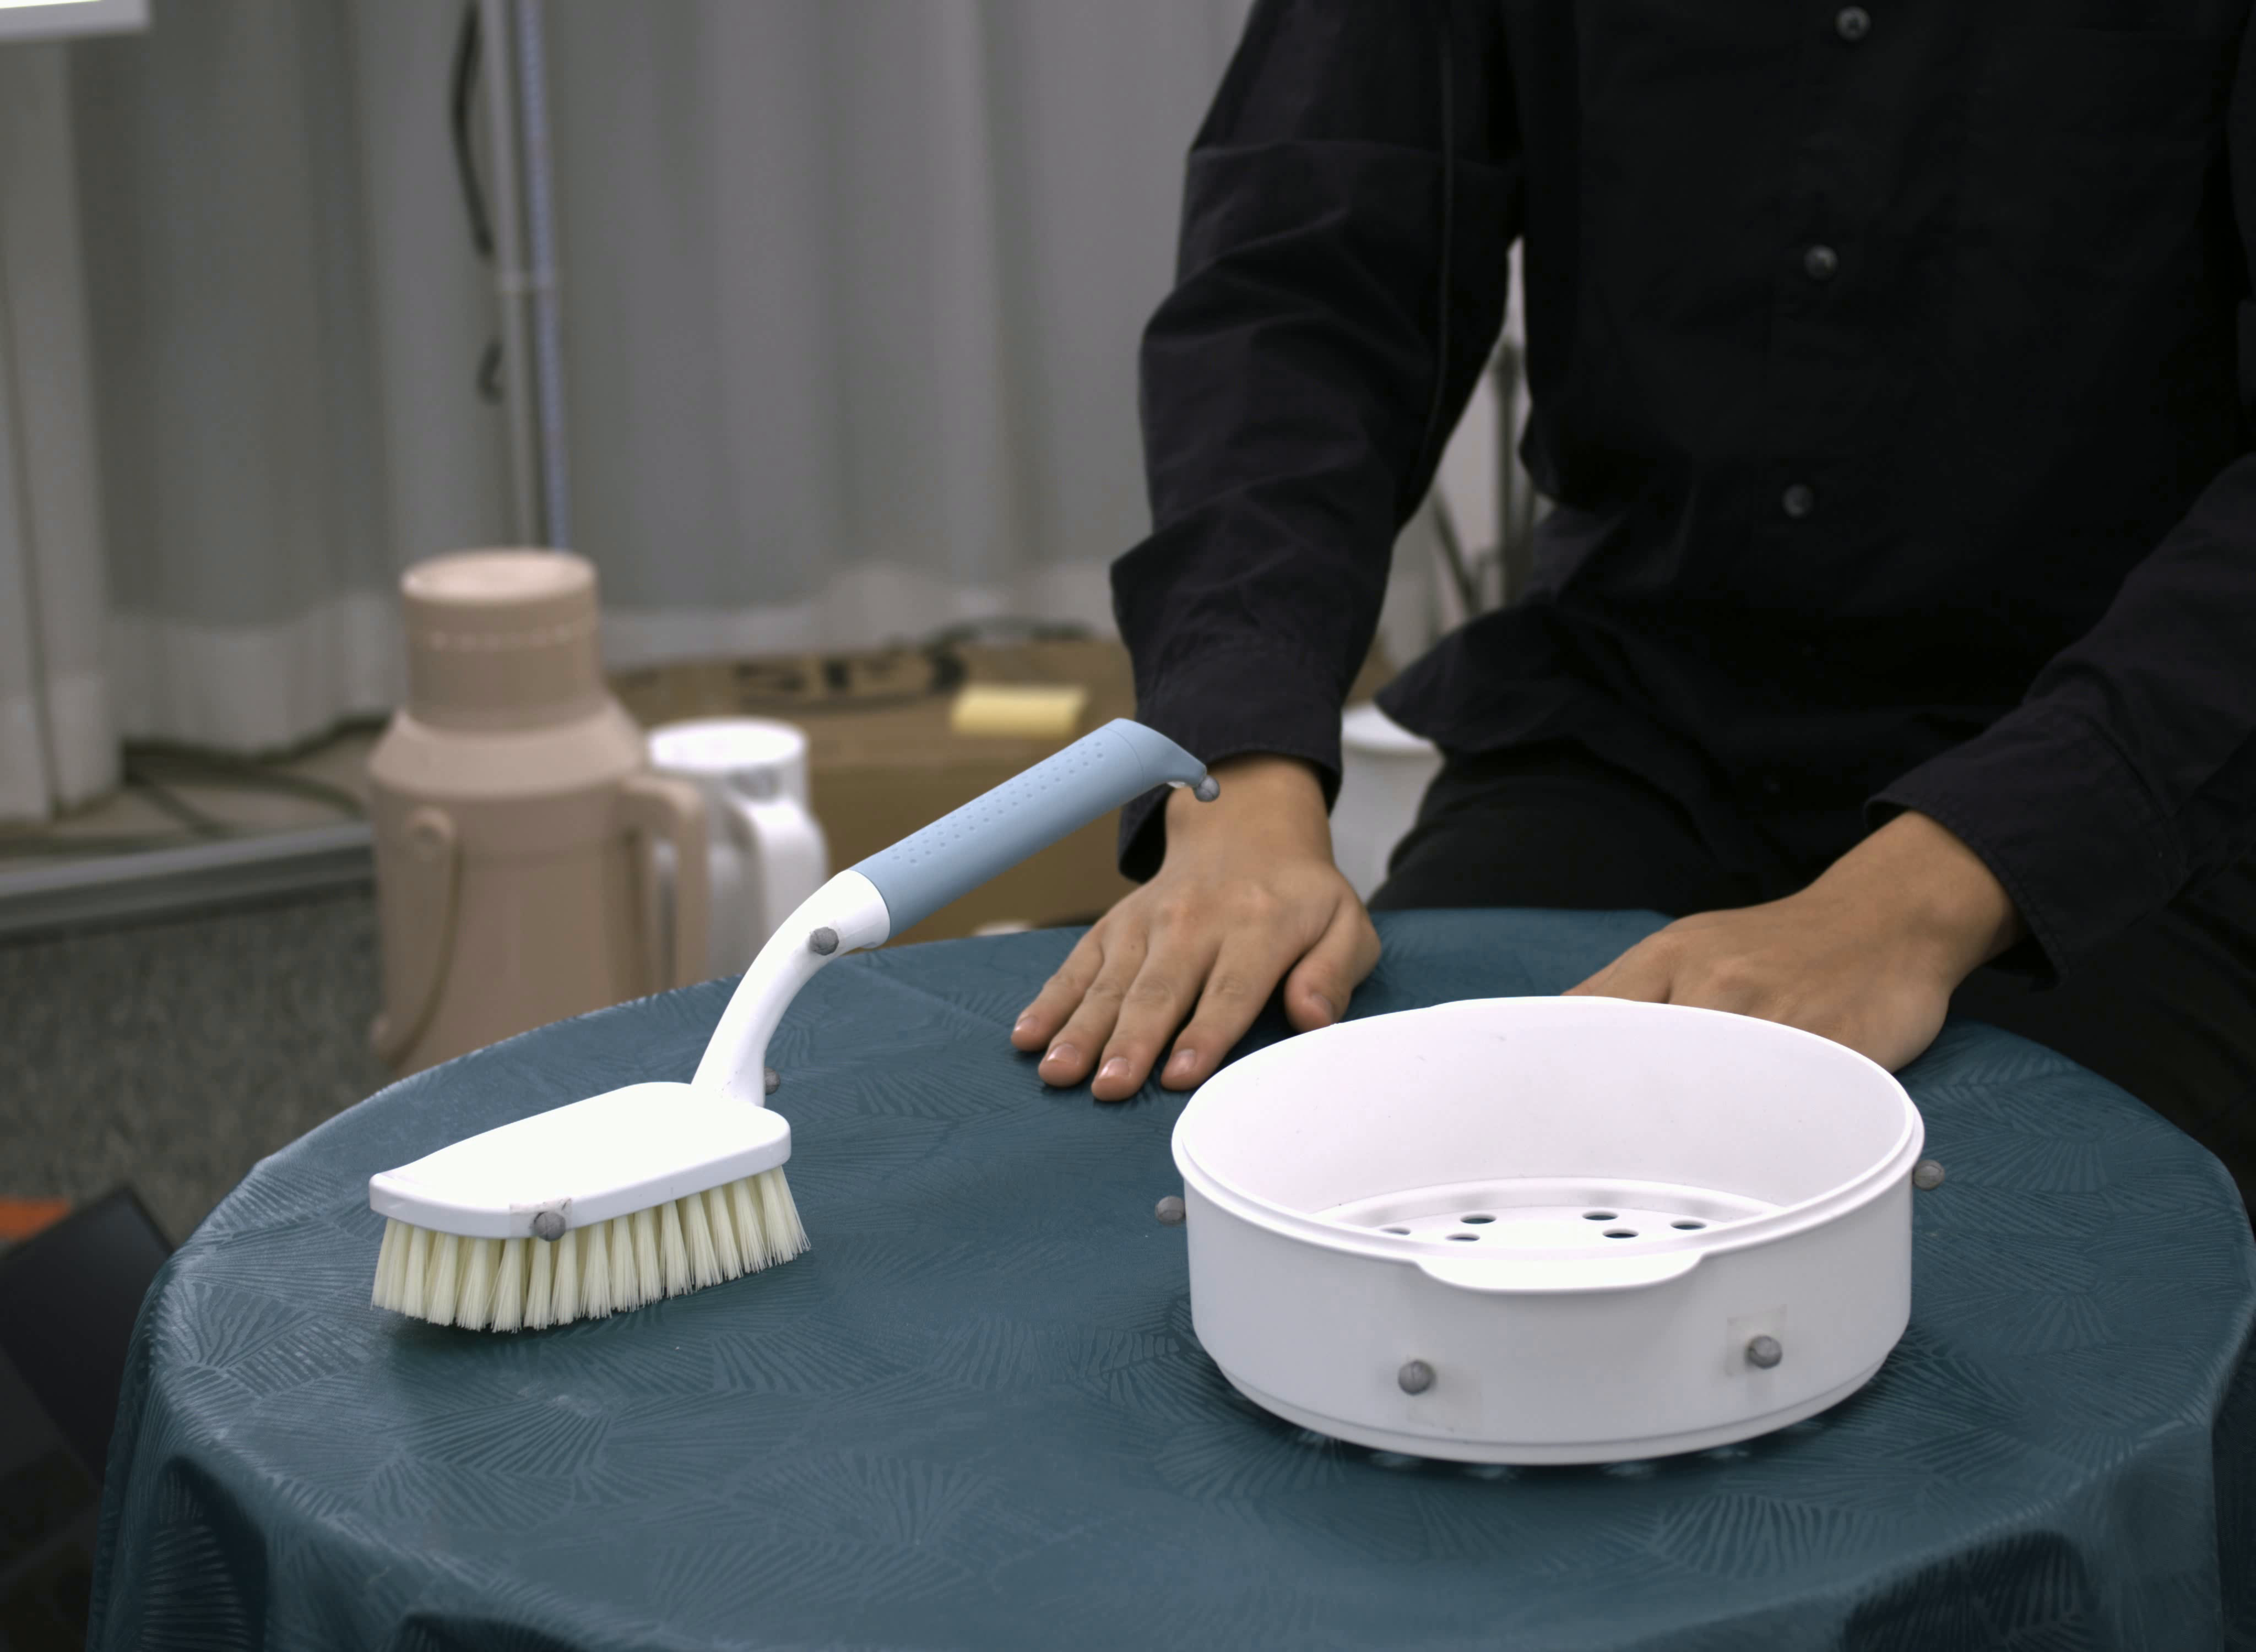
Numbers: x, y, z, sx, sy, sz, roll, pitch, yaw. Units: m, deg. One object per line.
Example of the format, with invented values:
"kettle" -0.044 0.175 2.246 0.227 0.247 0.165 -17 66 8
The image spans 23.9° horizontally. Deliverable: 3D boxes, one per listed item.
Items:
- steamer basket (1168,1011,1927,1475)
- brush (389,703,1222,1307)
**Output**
"steamer basket" 0.112 0.111 1.417 0.201 0.069 0.231 -1 15 4
"brush" -0.081 0.067 1.569 0.320 0.085 0.084 -30 66 -34
